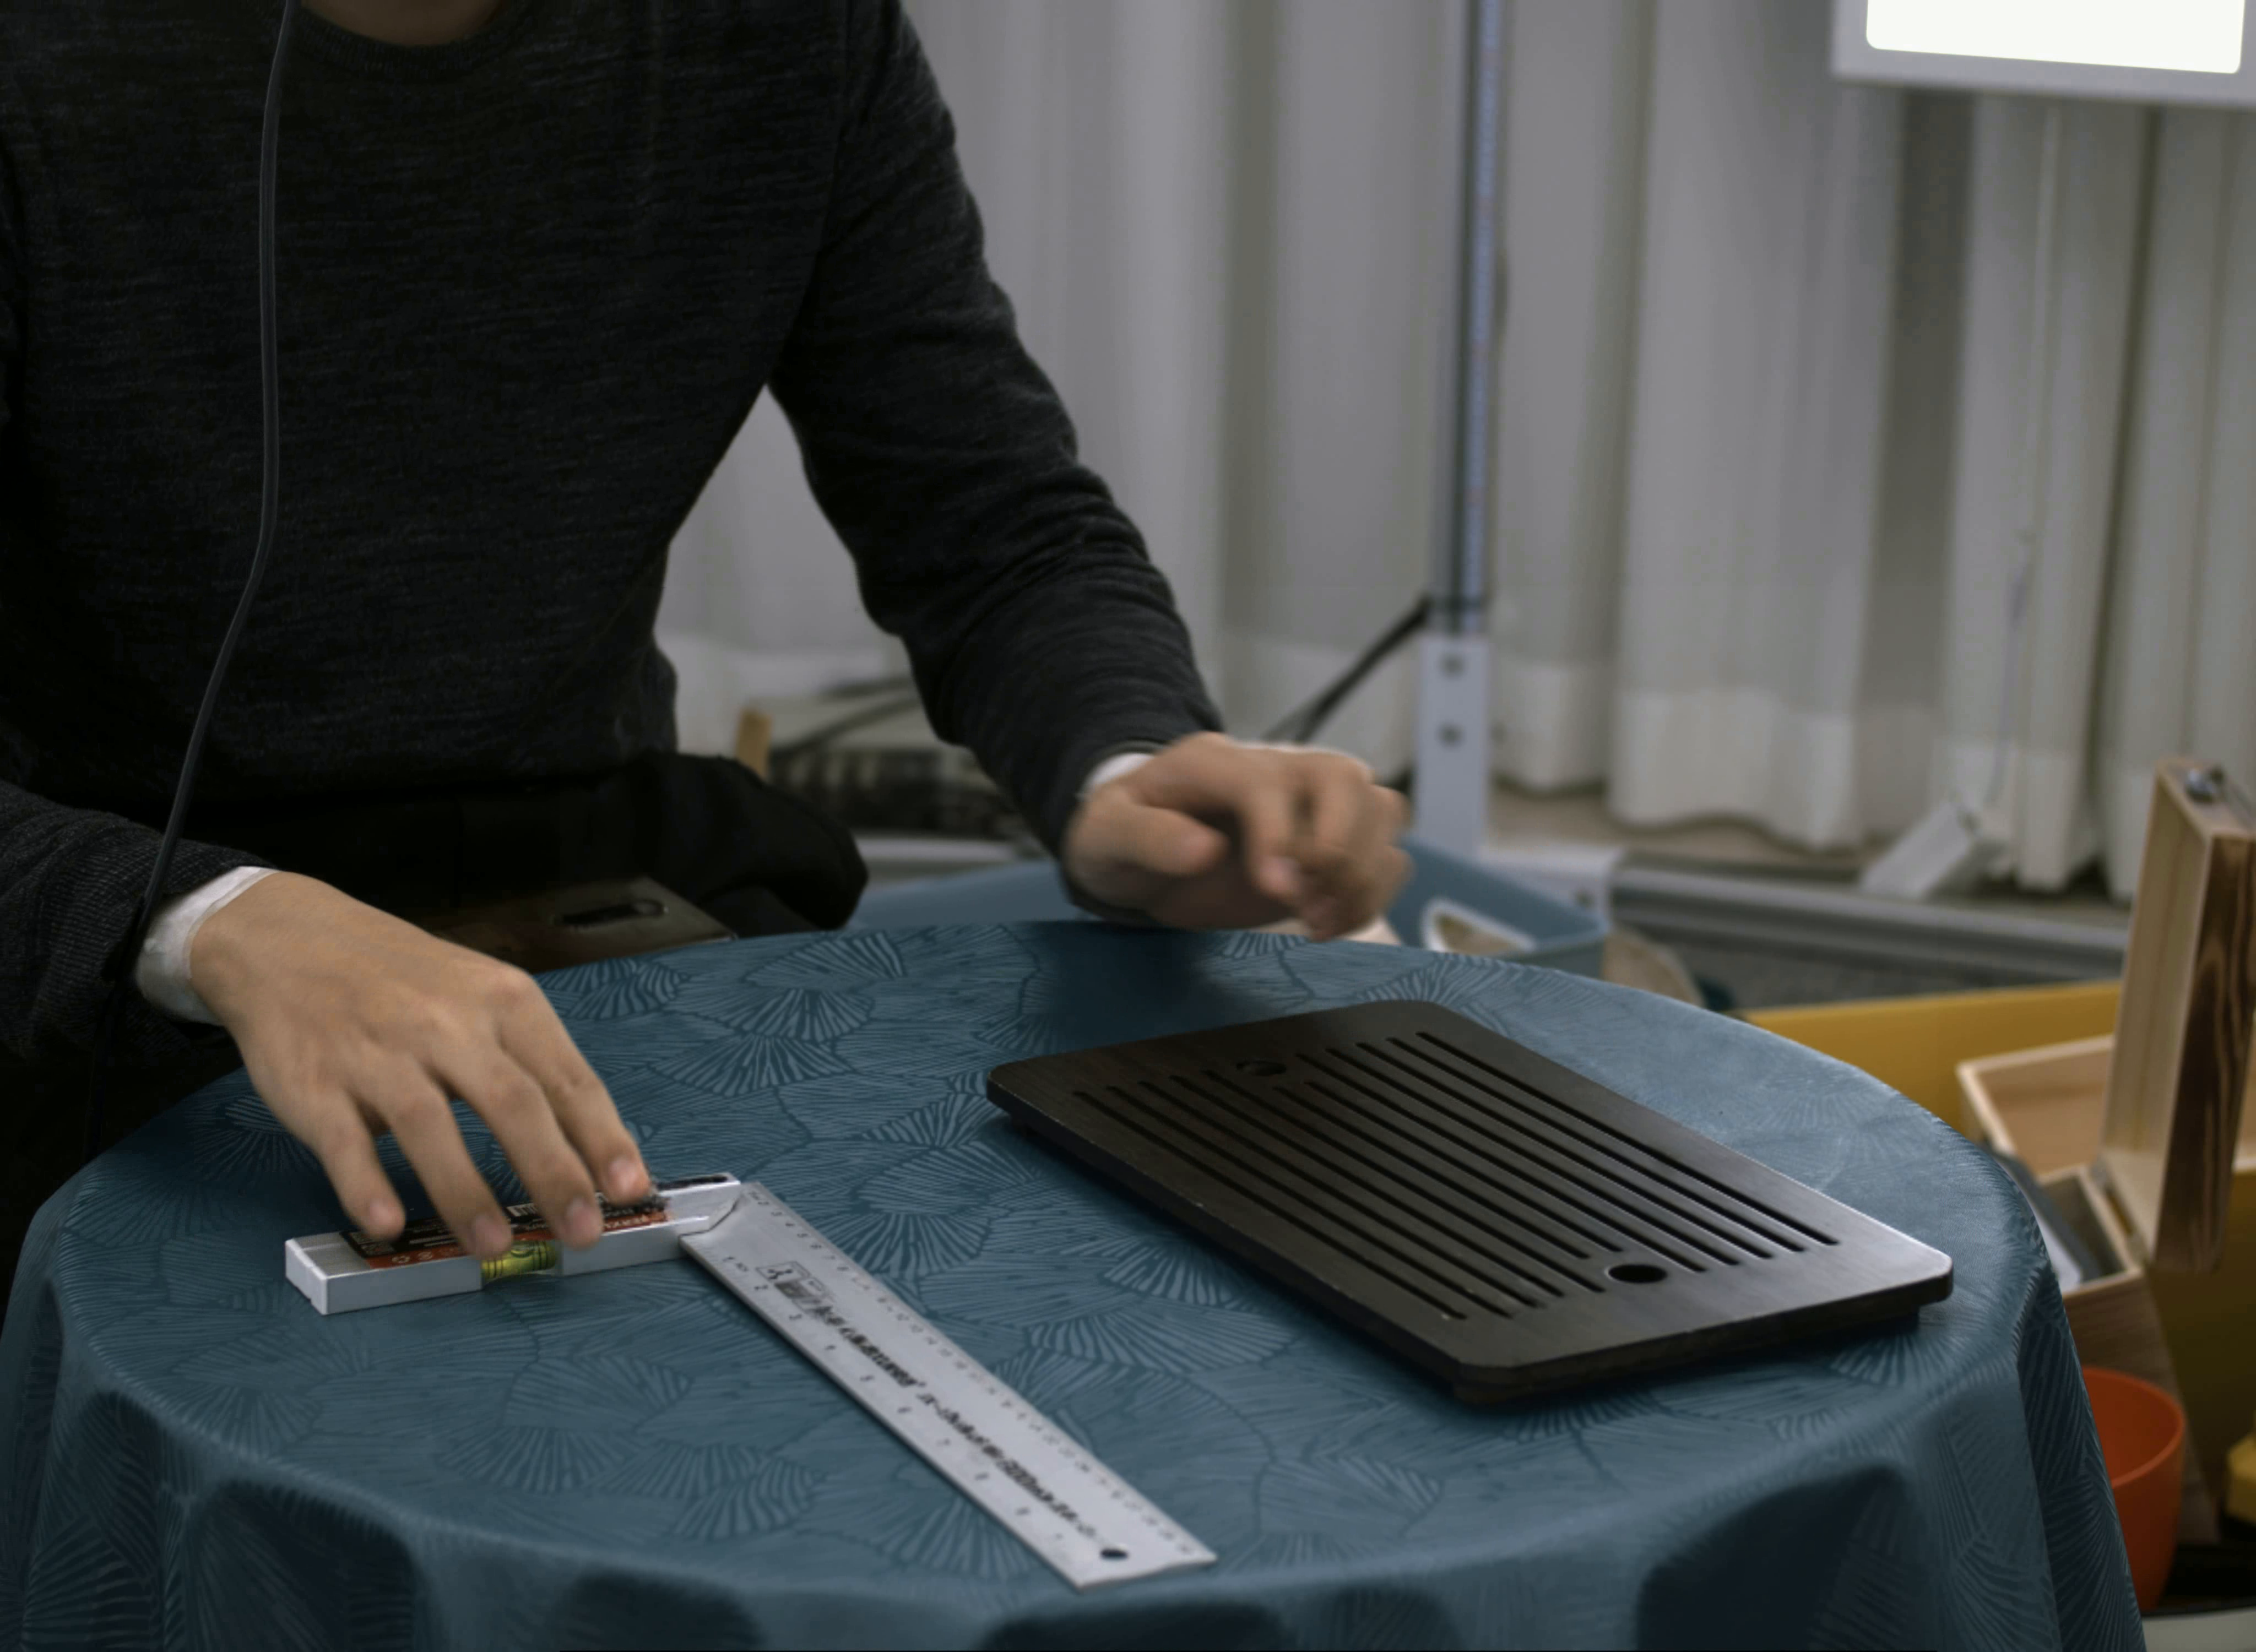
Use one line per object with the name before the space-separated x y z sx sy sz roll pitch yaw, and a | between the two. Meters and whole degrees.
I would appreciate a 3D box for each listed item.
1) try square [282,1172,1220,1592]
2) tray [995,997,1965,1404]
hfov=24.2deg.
try square | -0.112 0.156 1.442 0.153 0.016 0.309 -7 18 -26
tray | 0.099 0.109 1.600 0.171 0.019 0.302 -8 18 -28
